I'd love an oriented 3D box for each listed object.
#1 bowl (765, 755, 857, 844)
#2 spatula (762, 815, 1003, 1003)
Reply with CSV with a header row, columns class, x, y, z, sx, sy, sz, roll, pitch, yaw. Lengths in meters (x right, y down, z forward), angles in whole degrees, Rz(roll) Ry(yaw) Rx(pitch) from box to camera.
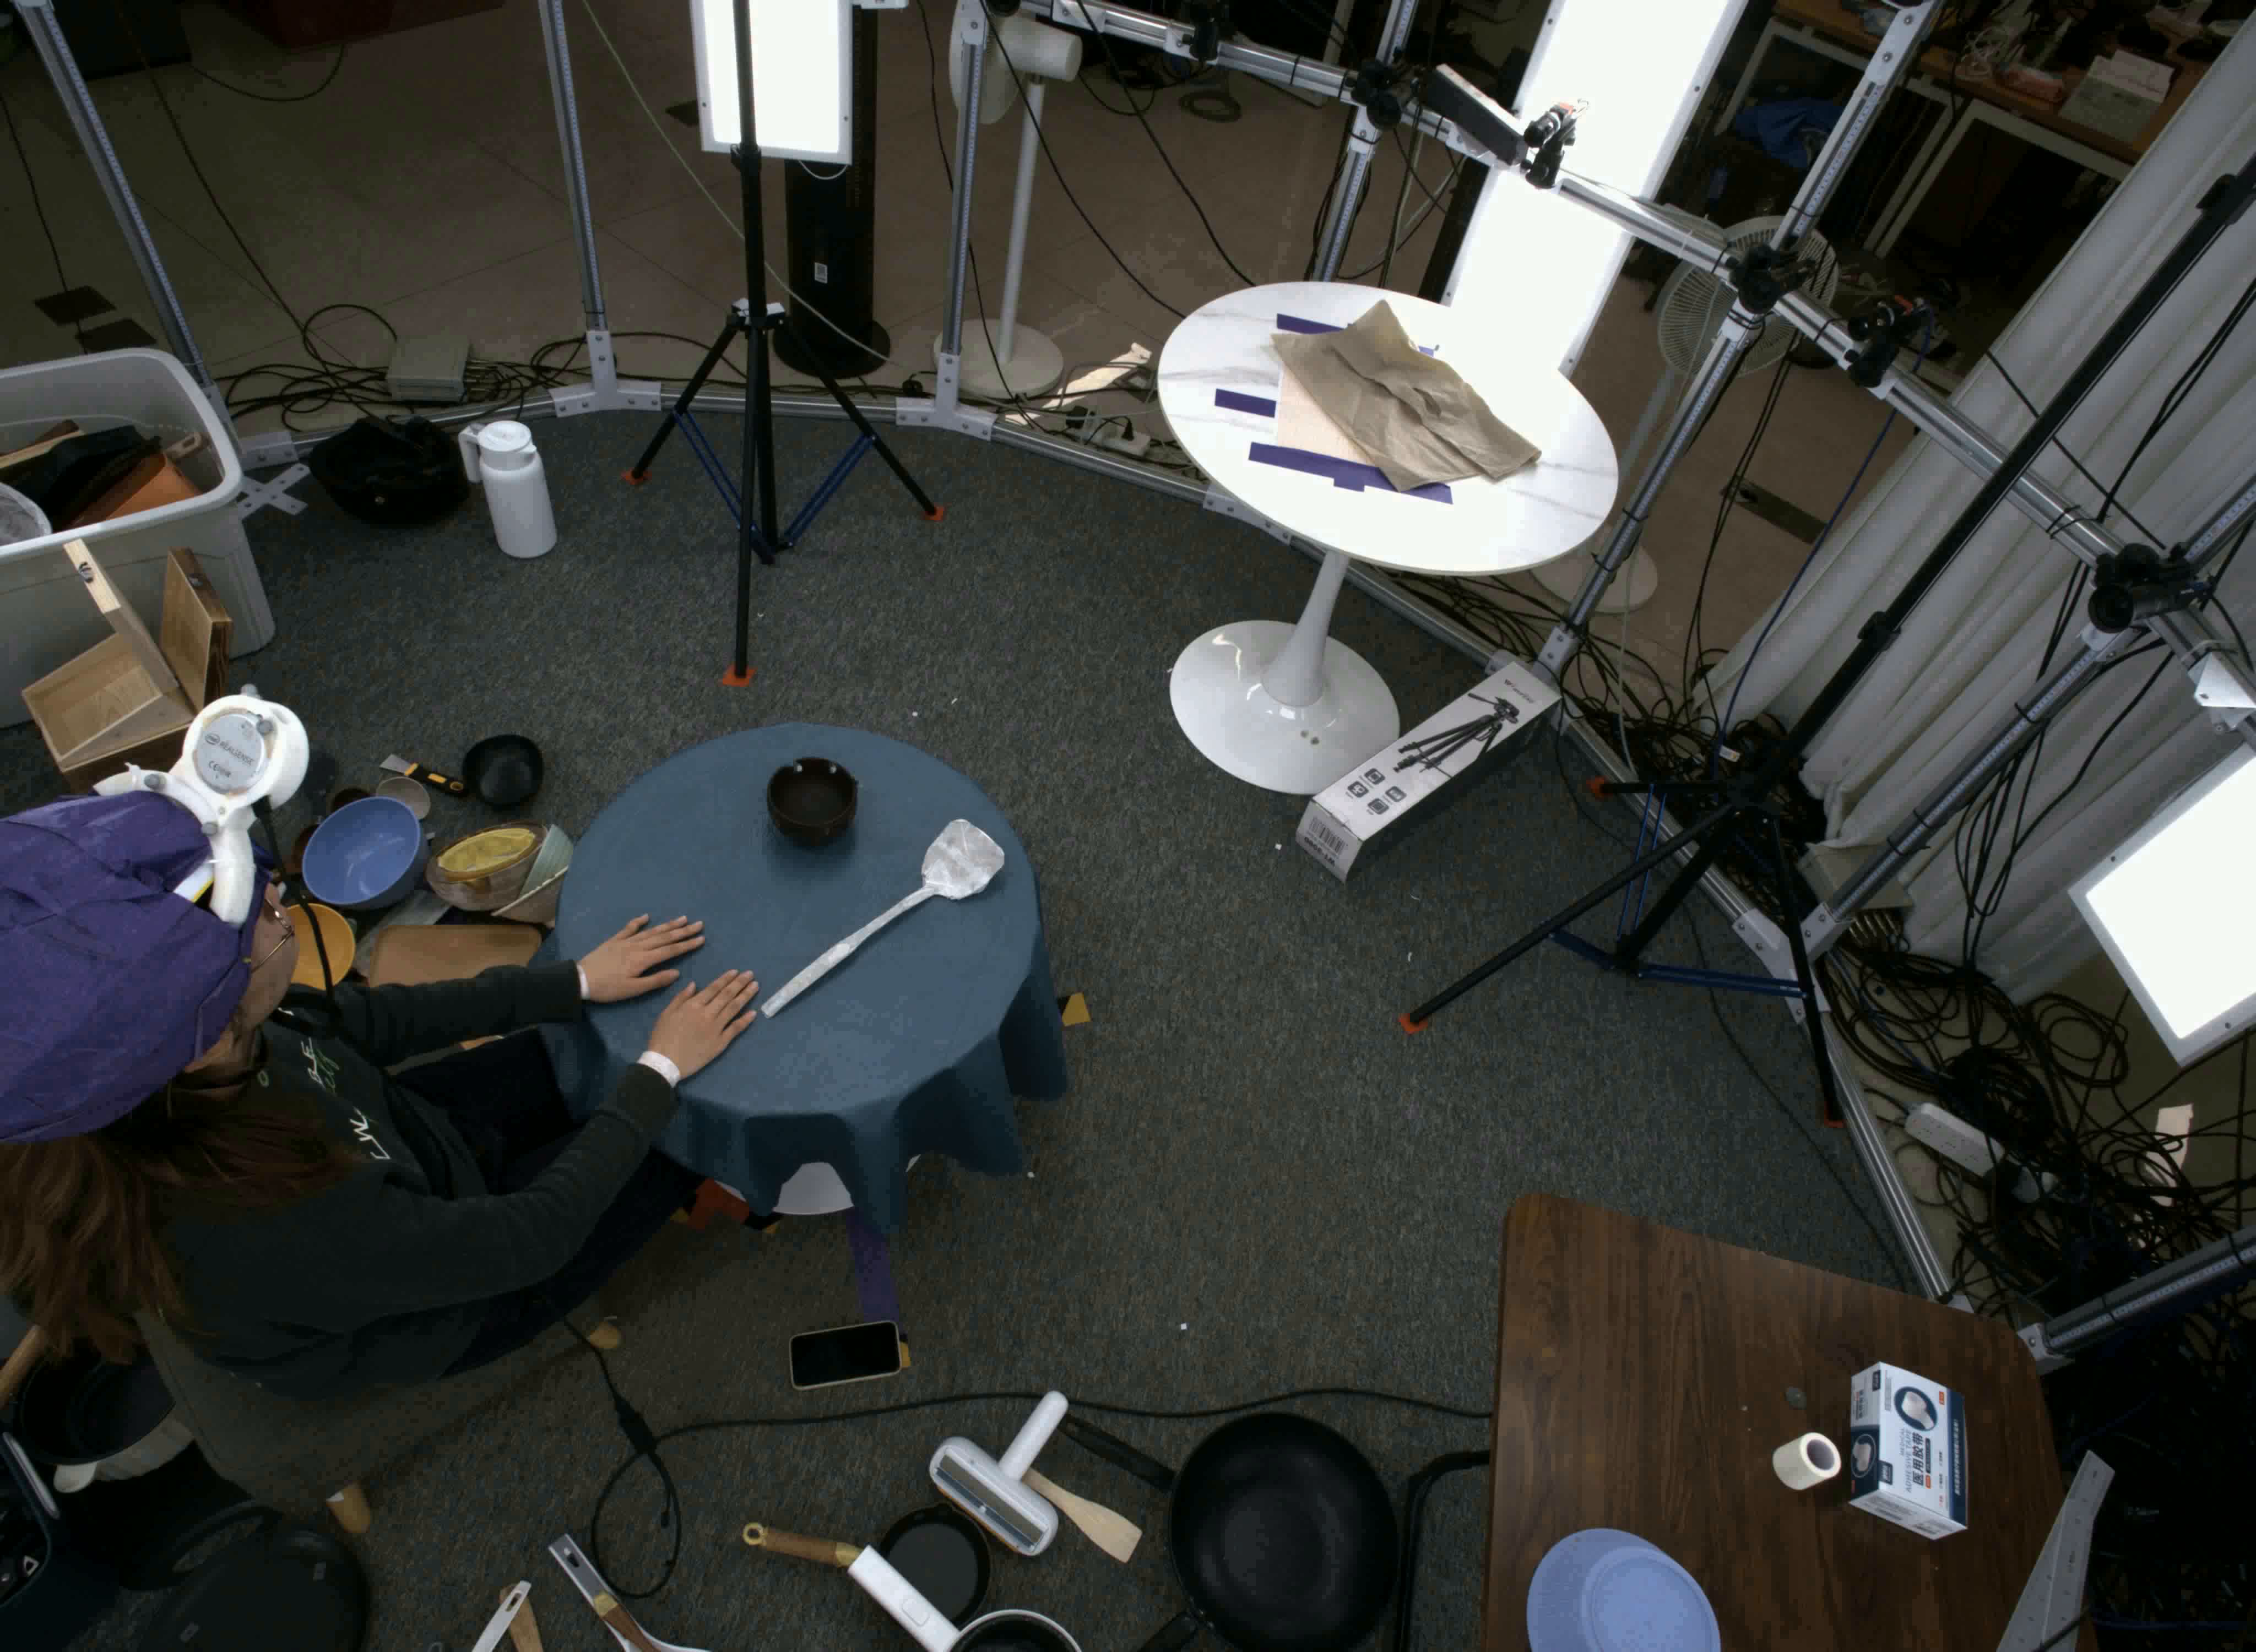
class,x,y,z,sx,sy,sz,roll,pitch,yaw
bowl,-0.416,-0.027,1.705,0.117,0.071,0.116,6,52,-6
spatula,-0.312,0.111,1.650,0.097,0.045,0.365,42,55,15
